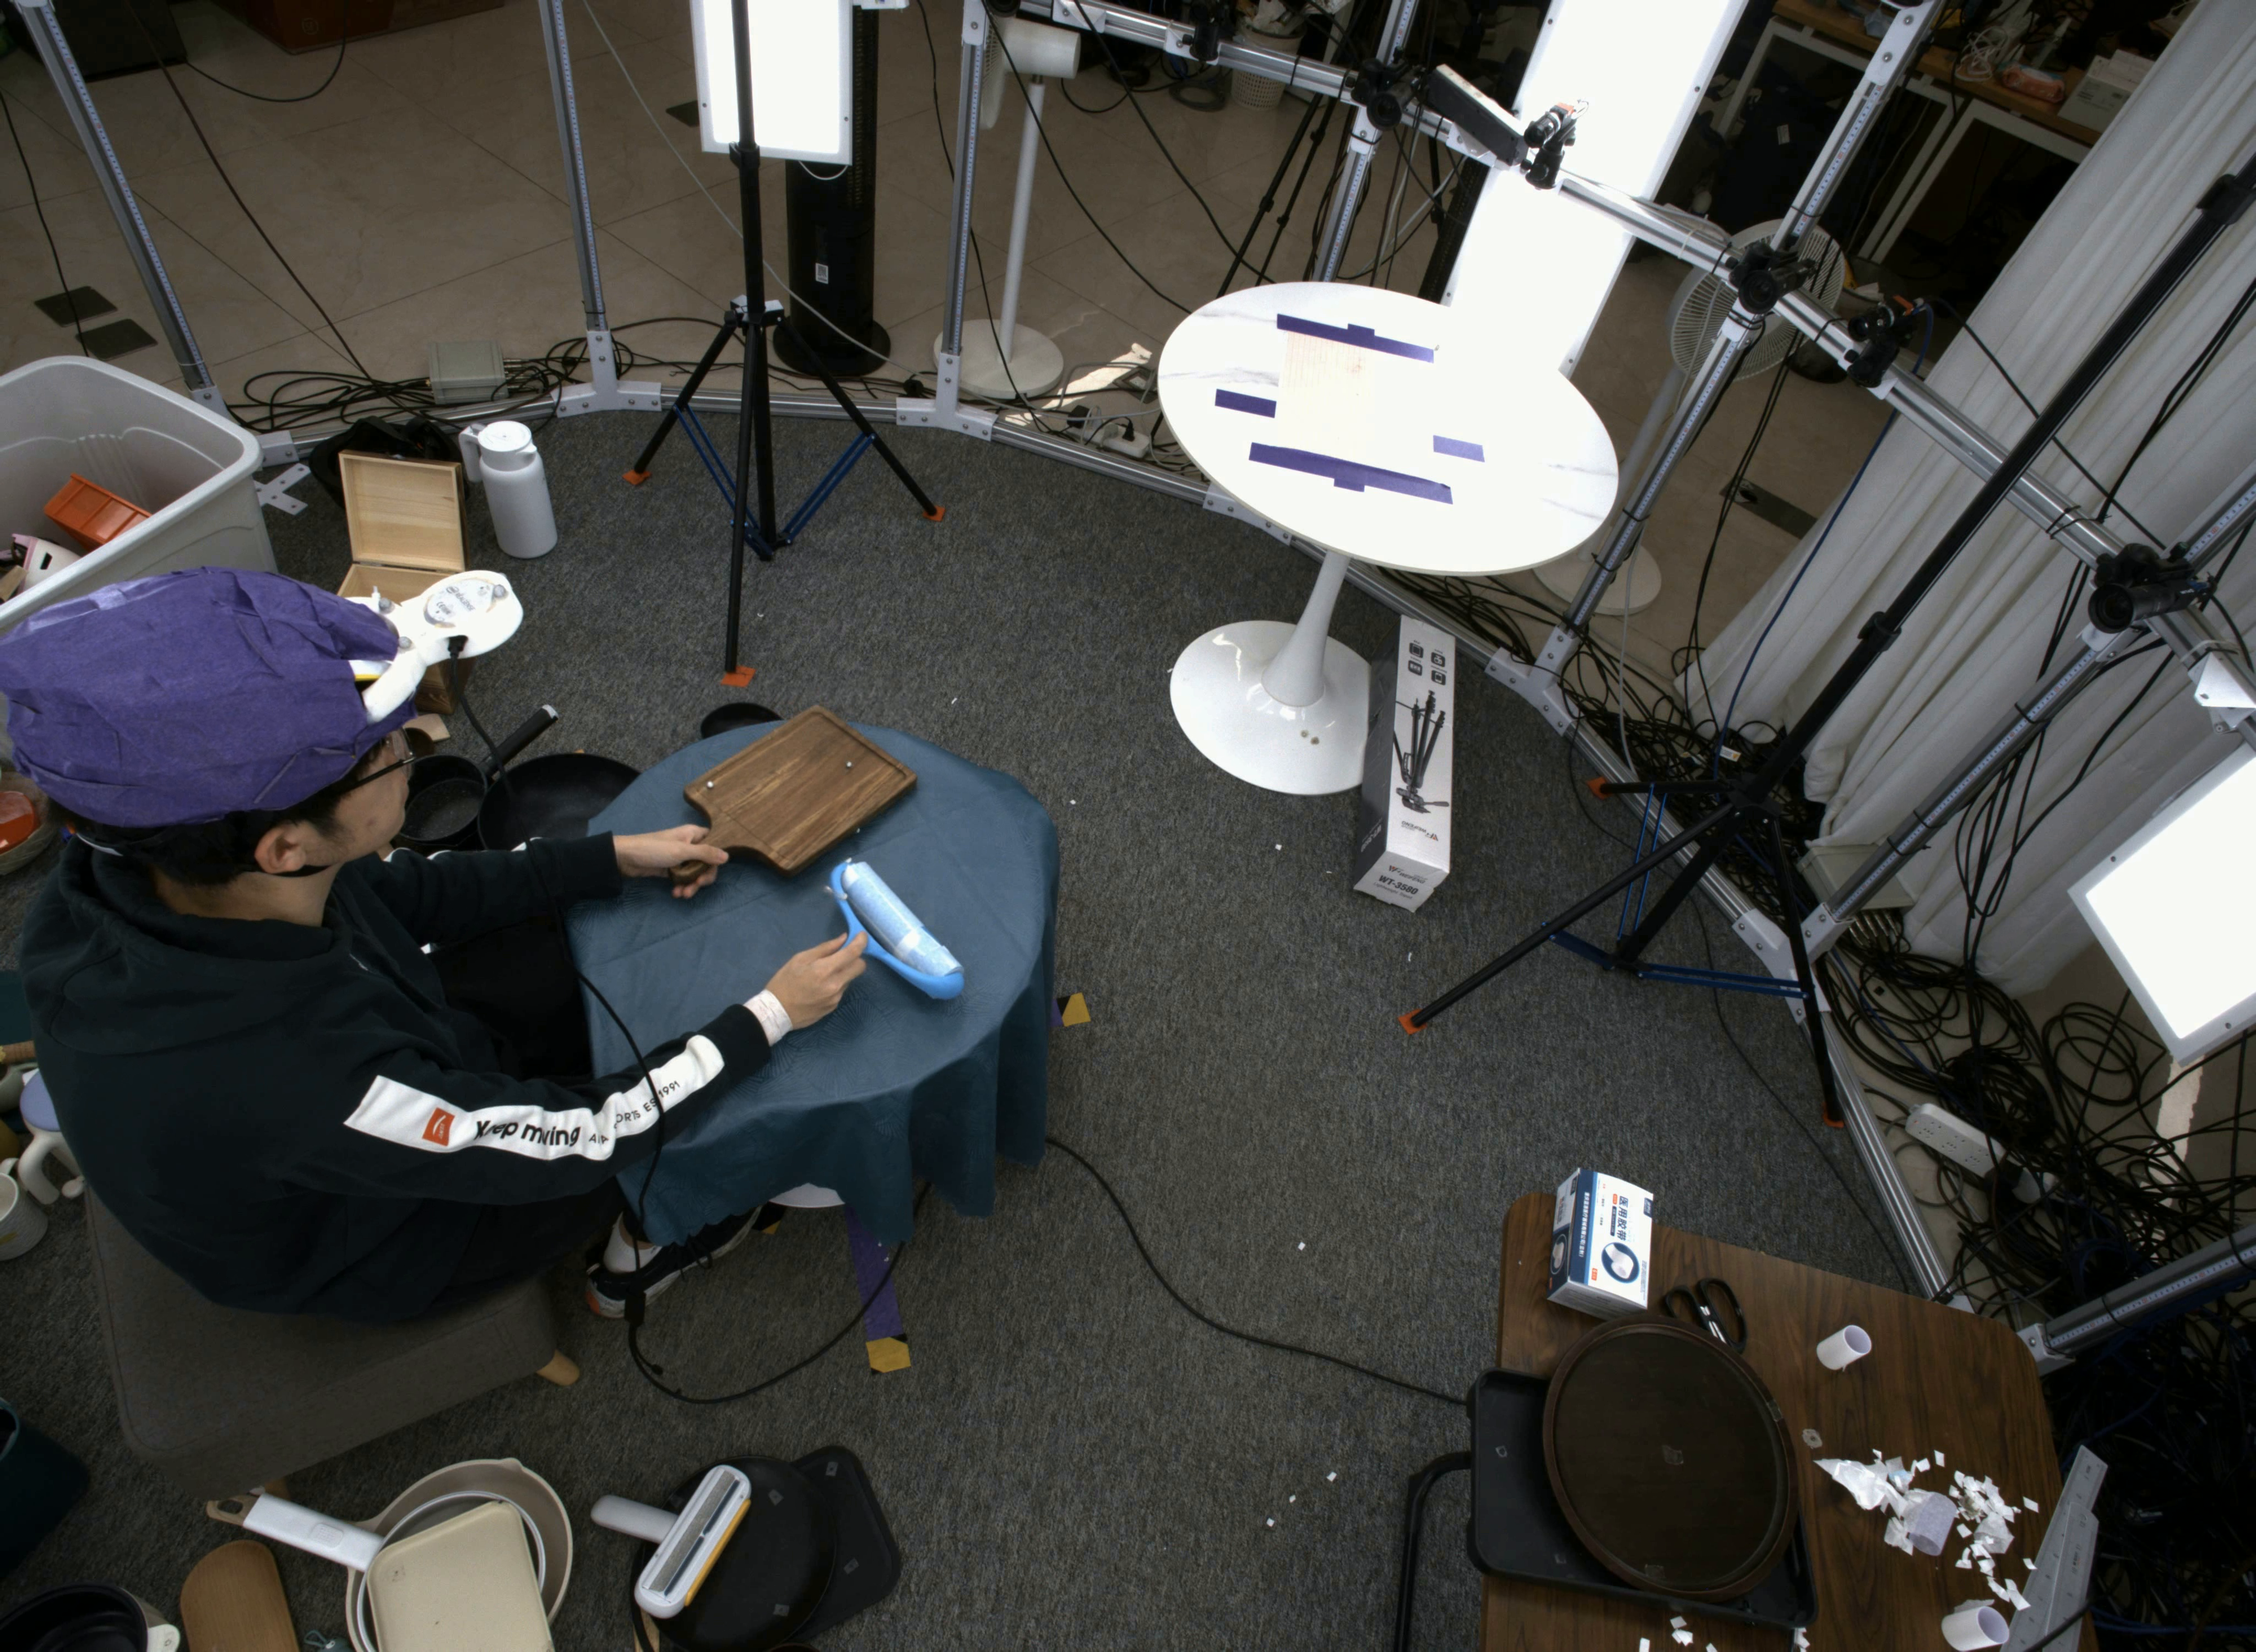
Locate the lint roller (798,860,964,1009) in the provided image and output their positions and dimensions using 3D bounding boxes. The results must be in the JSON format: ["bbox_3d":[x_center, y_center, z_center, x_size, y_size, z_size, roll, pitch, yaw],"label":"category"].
[{"bbox_3d":[-0.325,0.153,1.584,0.225,0.069,0.180,42,55,13],"label":"lint roller"}]

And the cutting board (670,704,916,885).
[{"bbox_3d":[-0.465,-0.030,1.705,0.197,0.023,0.352,35,47,14],"label":"cutting board"}]
